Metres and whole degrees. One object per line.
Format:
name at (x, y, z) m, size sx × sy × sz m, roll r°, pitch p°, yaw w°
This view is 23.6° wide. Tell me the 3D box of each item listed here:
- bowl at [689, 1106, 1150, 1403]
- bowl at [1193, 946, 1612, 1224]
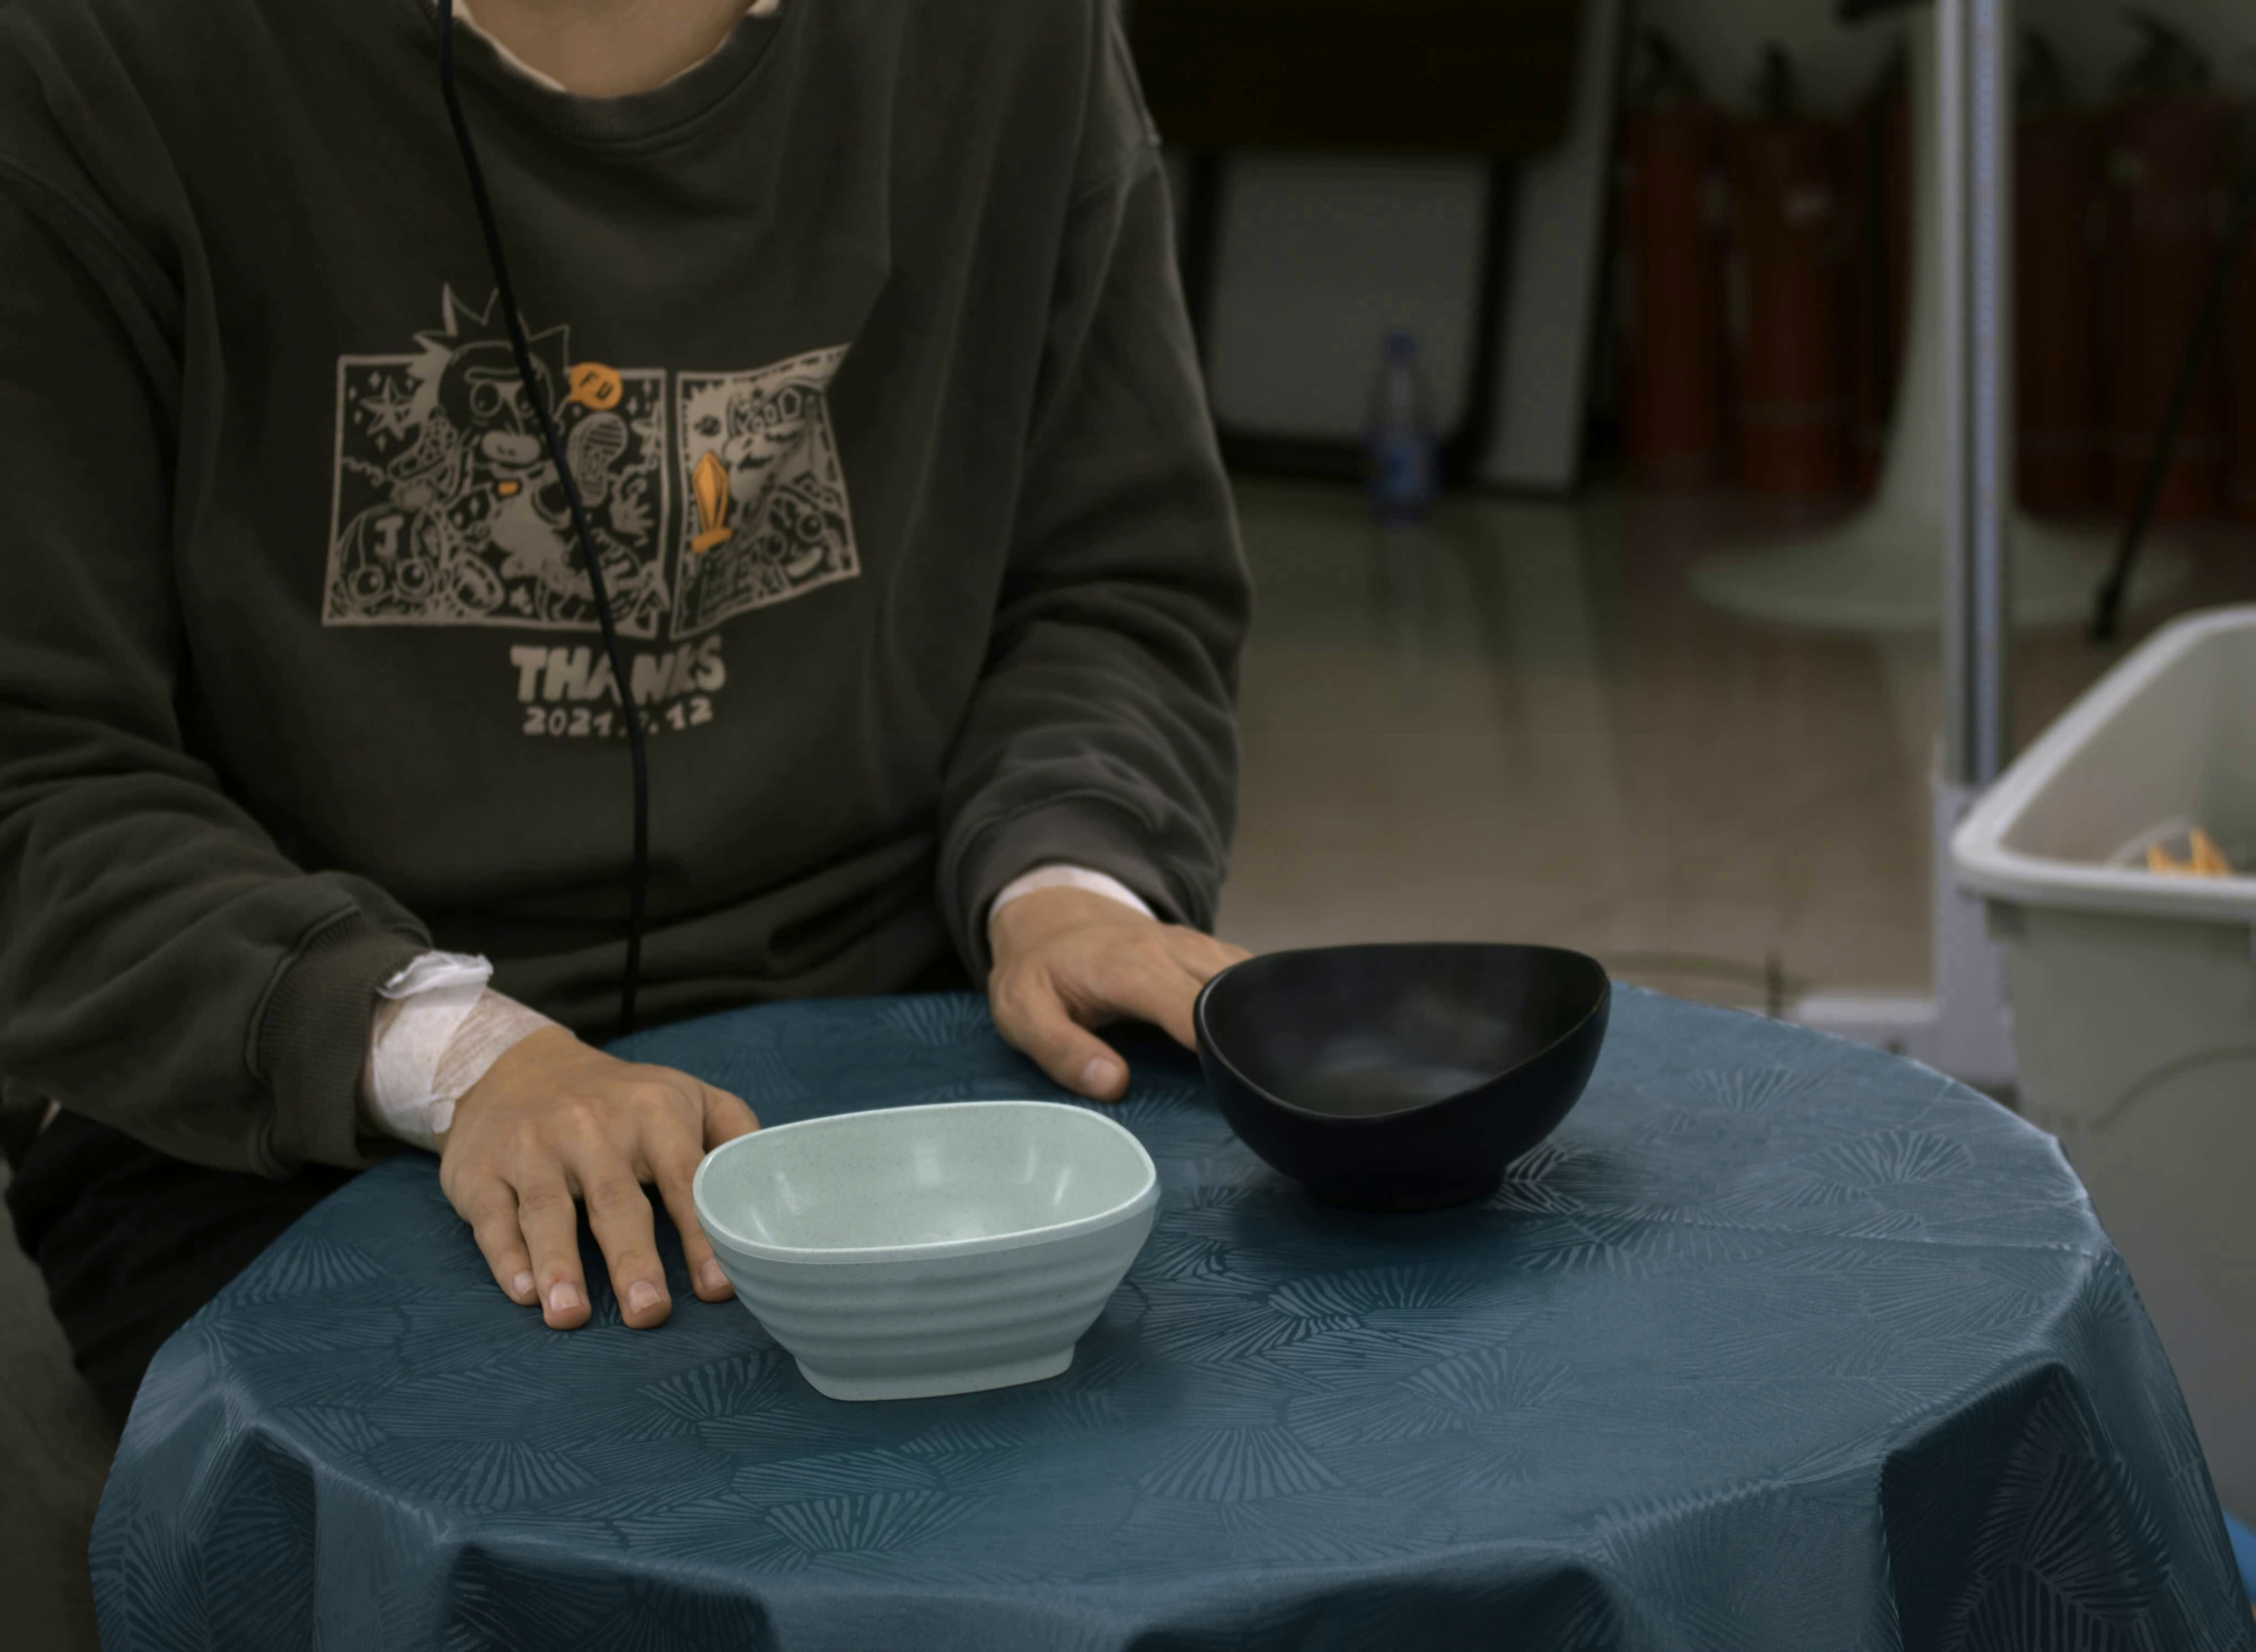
bowl at (-0.062, 0.132, 1.627) m, size 0.149 × 0.059 × 0.152 m, roll -2°, pitch 14°, yaw 0°
bowl at (0.090, 0.088, 1.755) m, size 0.136 × 0.067 × 0.169 m, roll -1°, pitch 15°, yaw 13°
